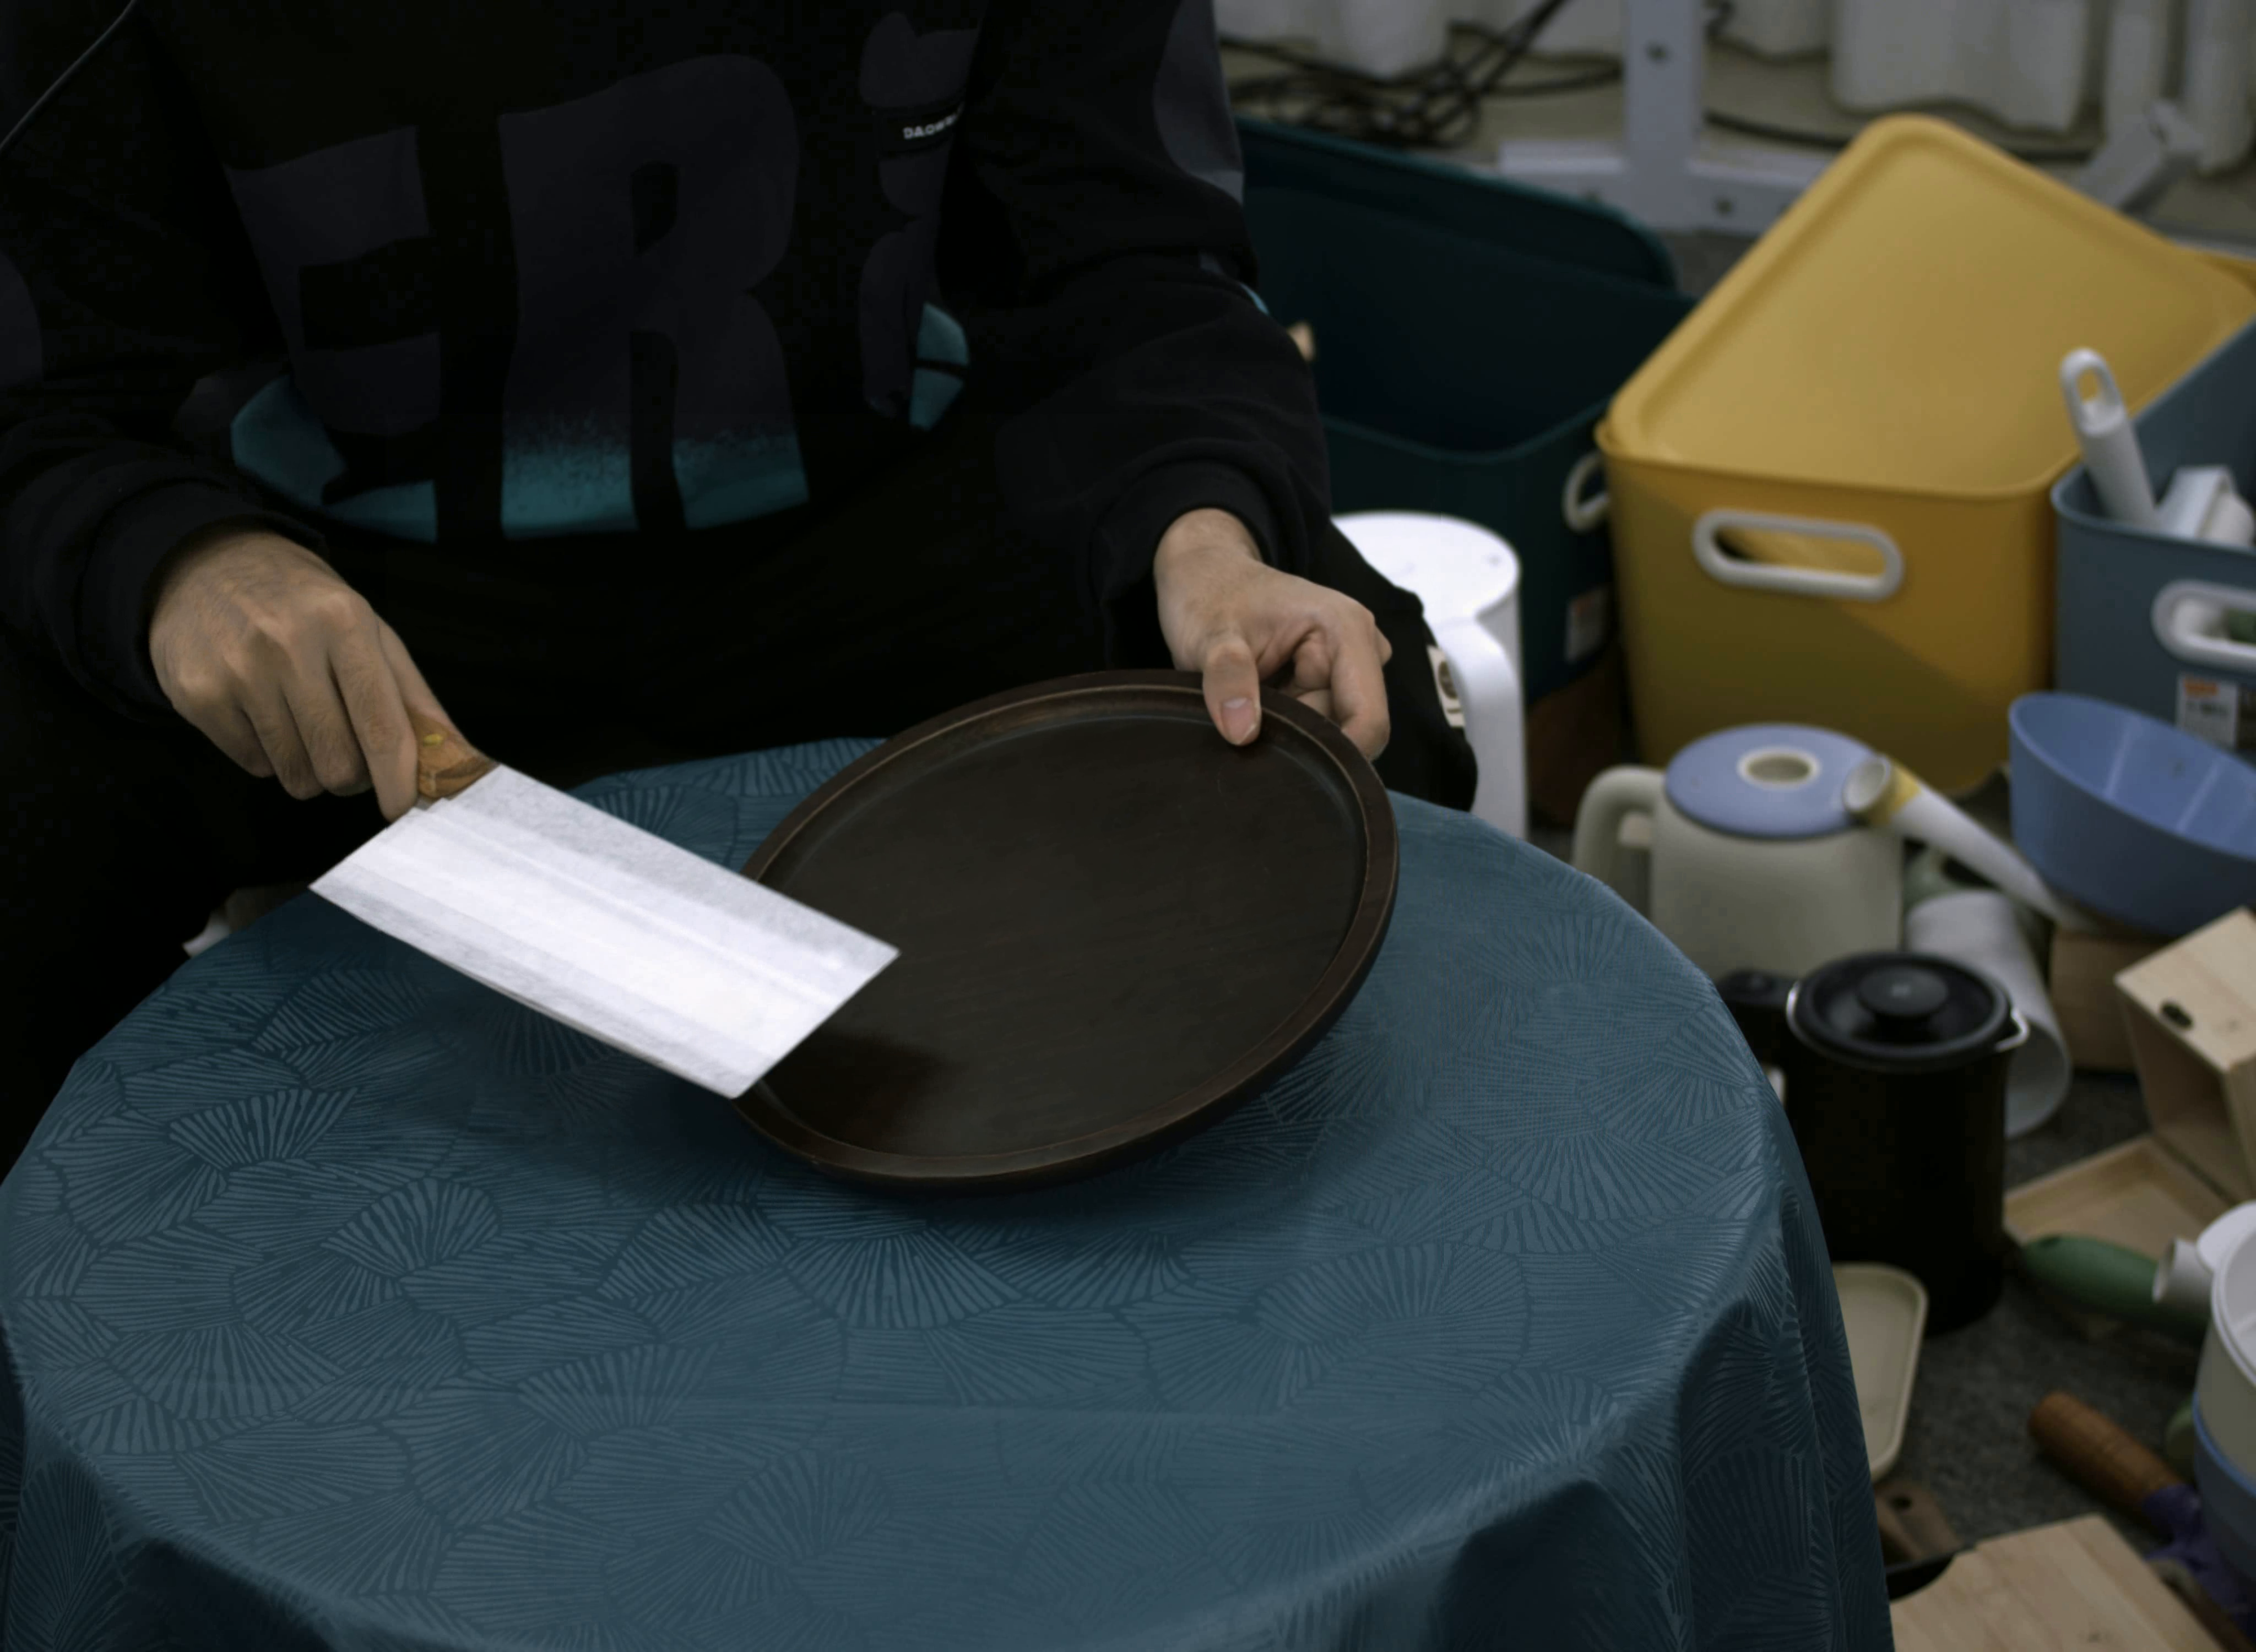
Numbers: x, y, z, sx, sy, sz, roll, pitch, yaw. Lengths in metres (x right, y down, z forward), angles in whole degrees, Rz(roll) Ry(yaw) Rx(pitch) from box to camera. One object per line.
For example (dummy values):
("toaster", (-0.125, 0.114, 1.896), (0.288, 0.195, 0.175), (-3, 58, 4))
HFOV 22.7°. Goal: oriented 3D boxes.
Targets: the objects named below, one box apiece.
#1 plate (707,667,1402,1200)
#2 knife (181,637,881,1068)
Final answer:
("plate", (-0.027, 0.036, 1.932), (0.253, 0.028, 0.260), (-10, 39, 9))
("knife", (-0.226, 0.012, 1.937), (0.305, 0.020, 0.094), (25, 45, 28))
